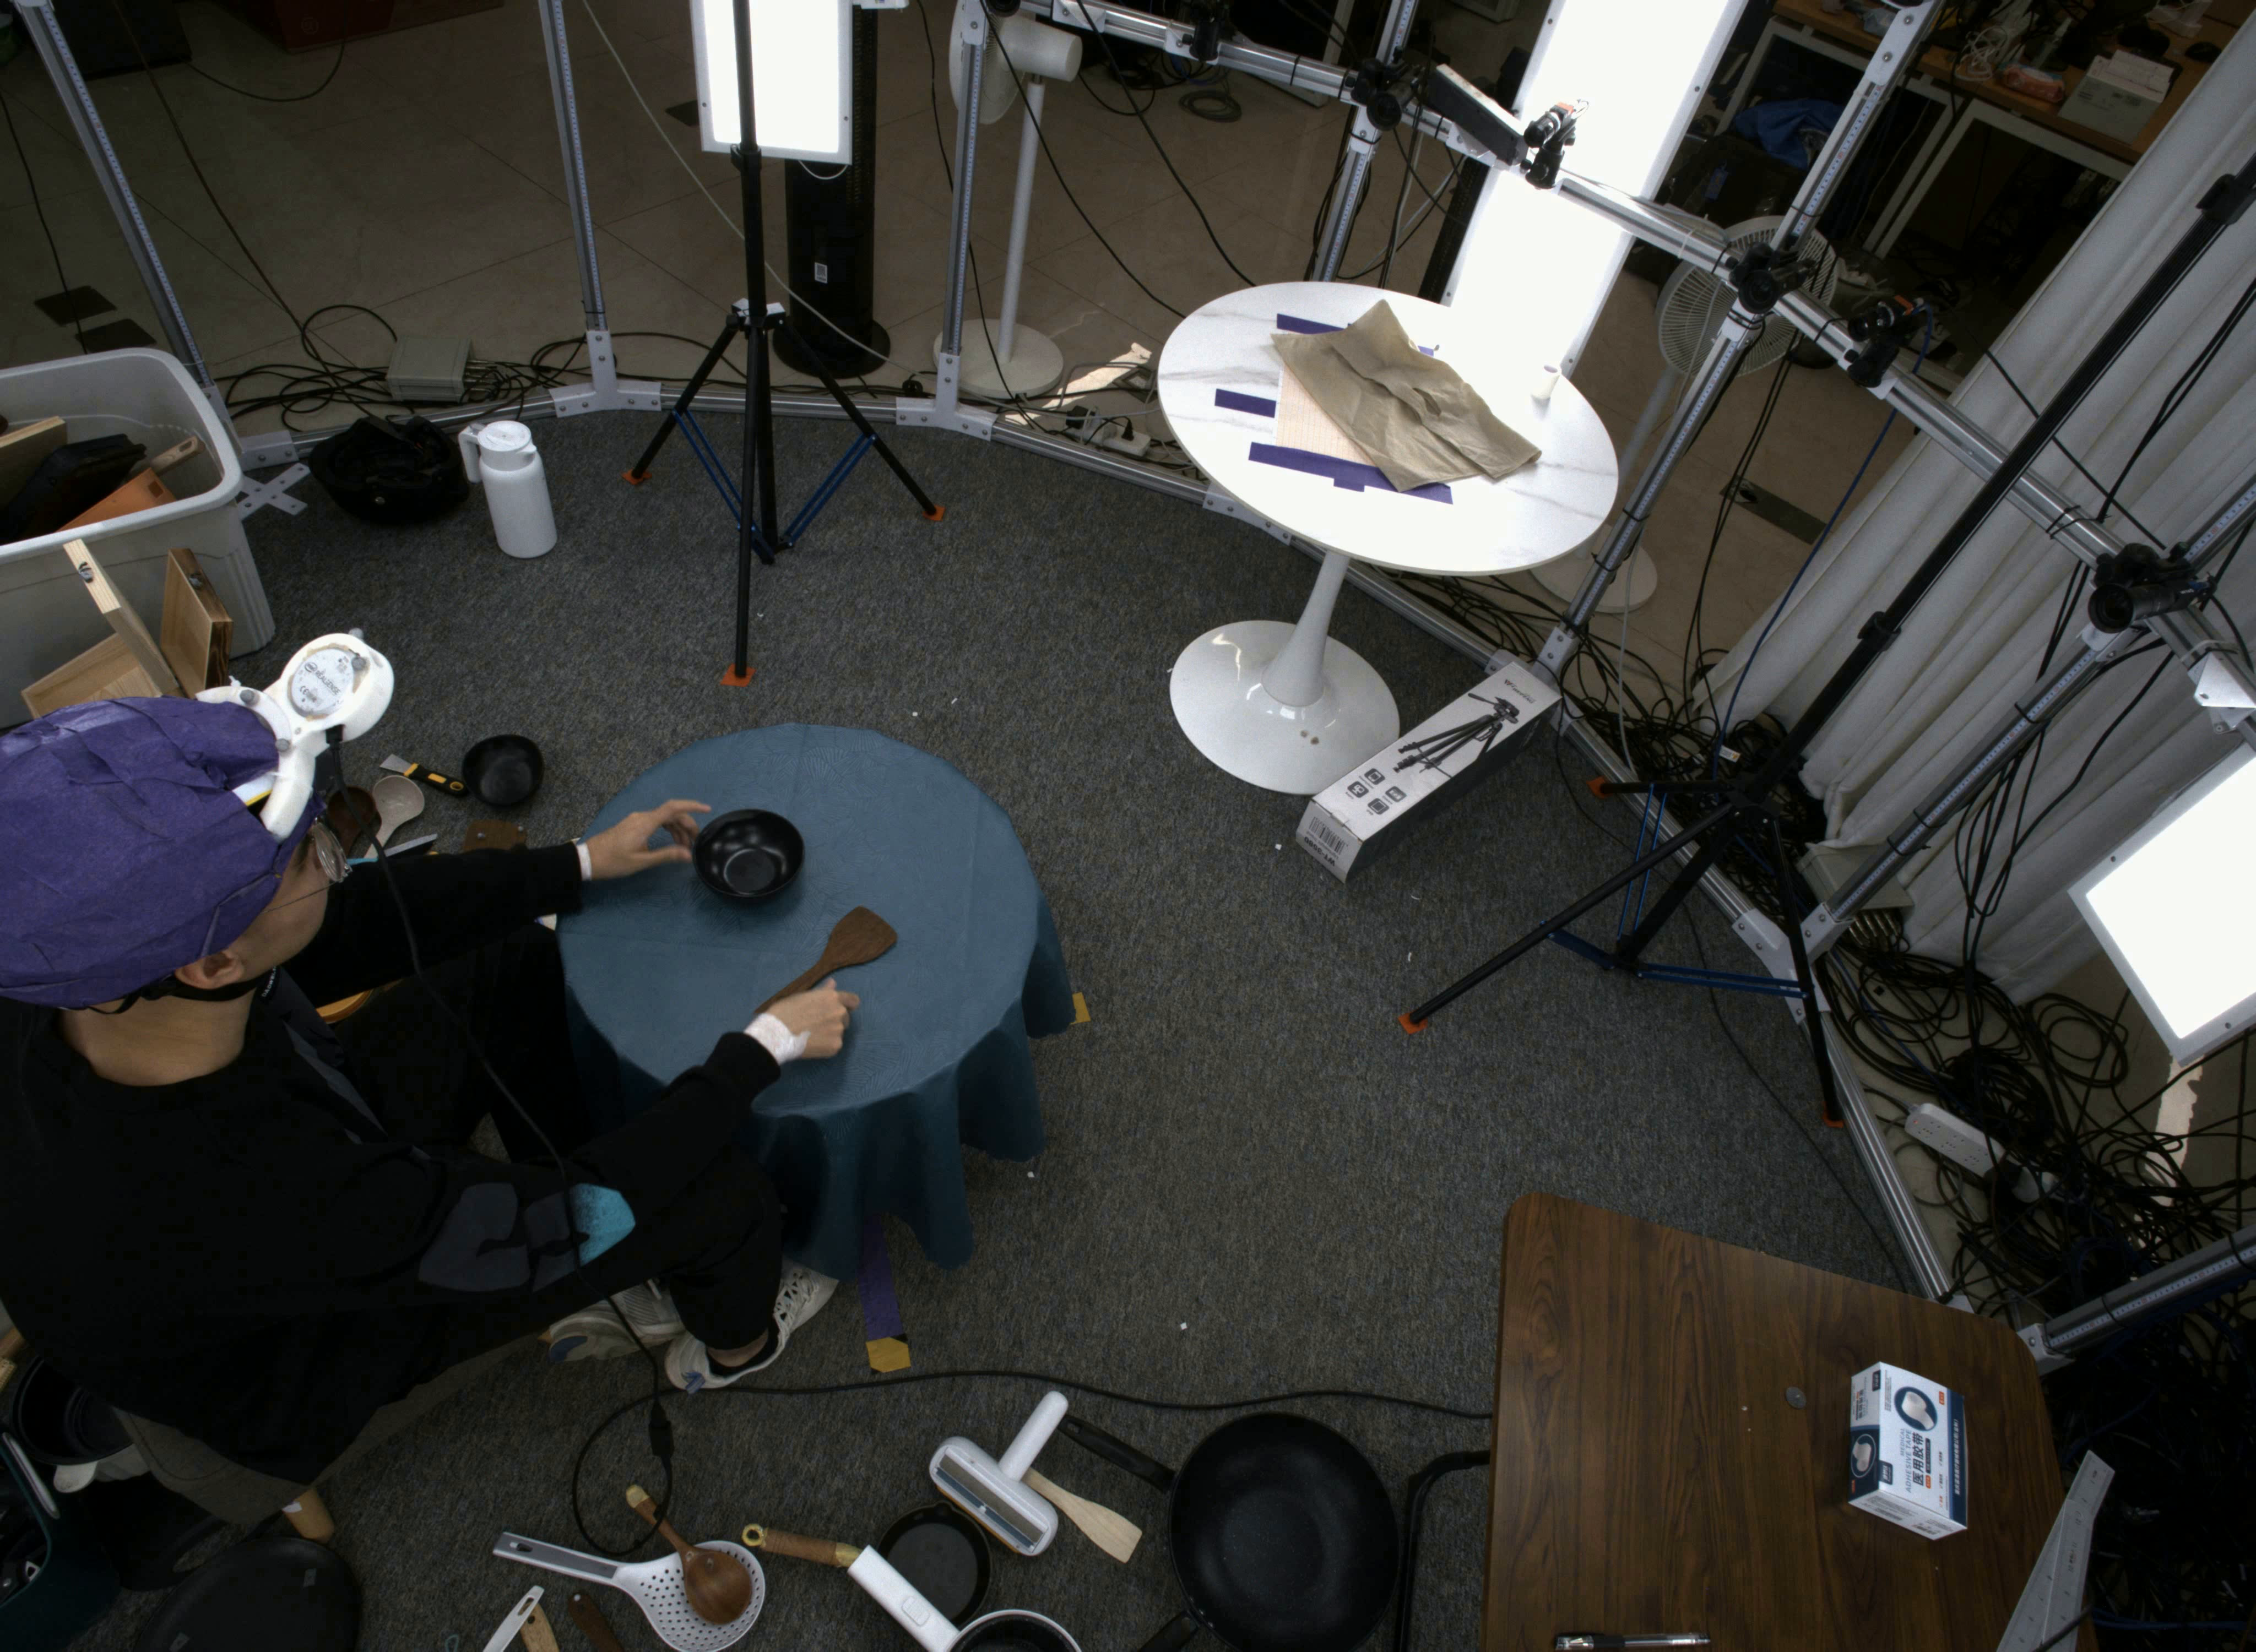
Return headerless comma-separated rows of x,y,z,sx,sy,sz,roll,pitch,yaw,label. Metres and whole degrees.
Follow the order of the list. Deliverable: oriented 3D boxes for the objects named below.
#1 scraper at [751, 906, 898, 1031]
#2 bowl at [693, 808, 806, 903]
-0.380,0.177,1.603,0.074,0.011,0.211,37,54,15,scraper
-0.482,0.044,1.648,0.140,0.050,0.137,10,51,-11,bowl
